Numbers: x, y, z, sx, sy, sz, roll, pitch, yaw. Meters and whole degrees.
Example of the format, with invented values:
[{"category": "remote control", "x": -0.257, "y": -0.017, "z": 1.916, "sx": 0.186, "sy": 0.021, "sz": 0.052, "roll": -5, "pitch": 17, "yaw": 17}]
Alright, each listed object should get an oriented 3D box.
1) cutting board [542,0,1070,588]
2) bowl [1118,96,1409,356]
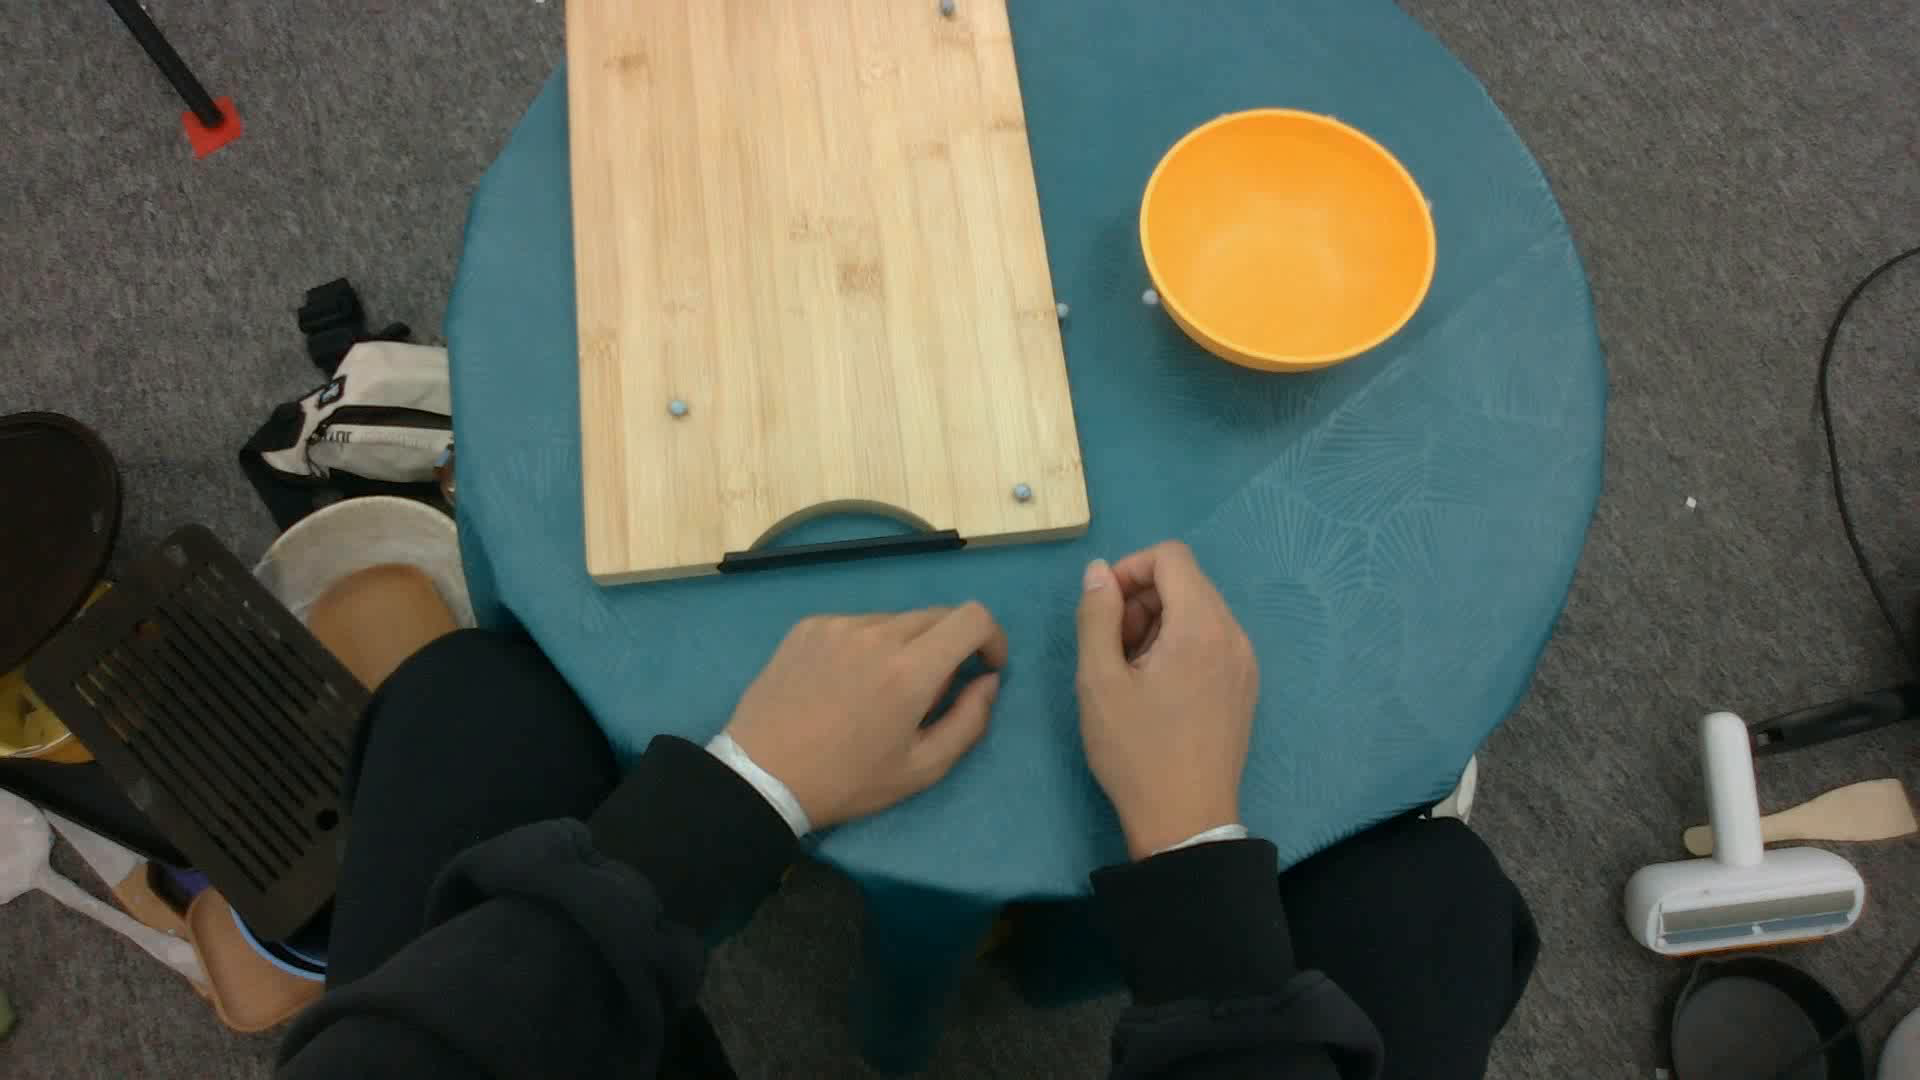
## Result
[{"category": "cutting board", "x": -0.089, "y": -0.153, "z": 0.714, "sx": 0.251, "sy": 0.023, "sz": 0.349, "roll": -7, "pitch": 70, "yaw": -6}, {"category": "bowl", "x": 0.150, "y": -0.151, "z": 0.708, "sx": 0.145, "sy": 0.060, "sz": 0.145, "roll": 0, "pitch": 71, "yaw": -1}]
